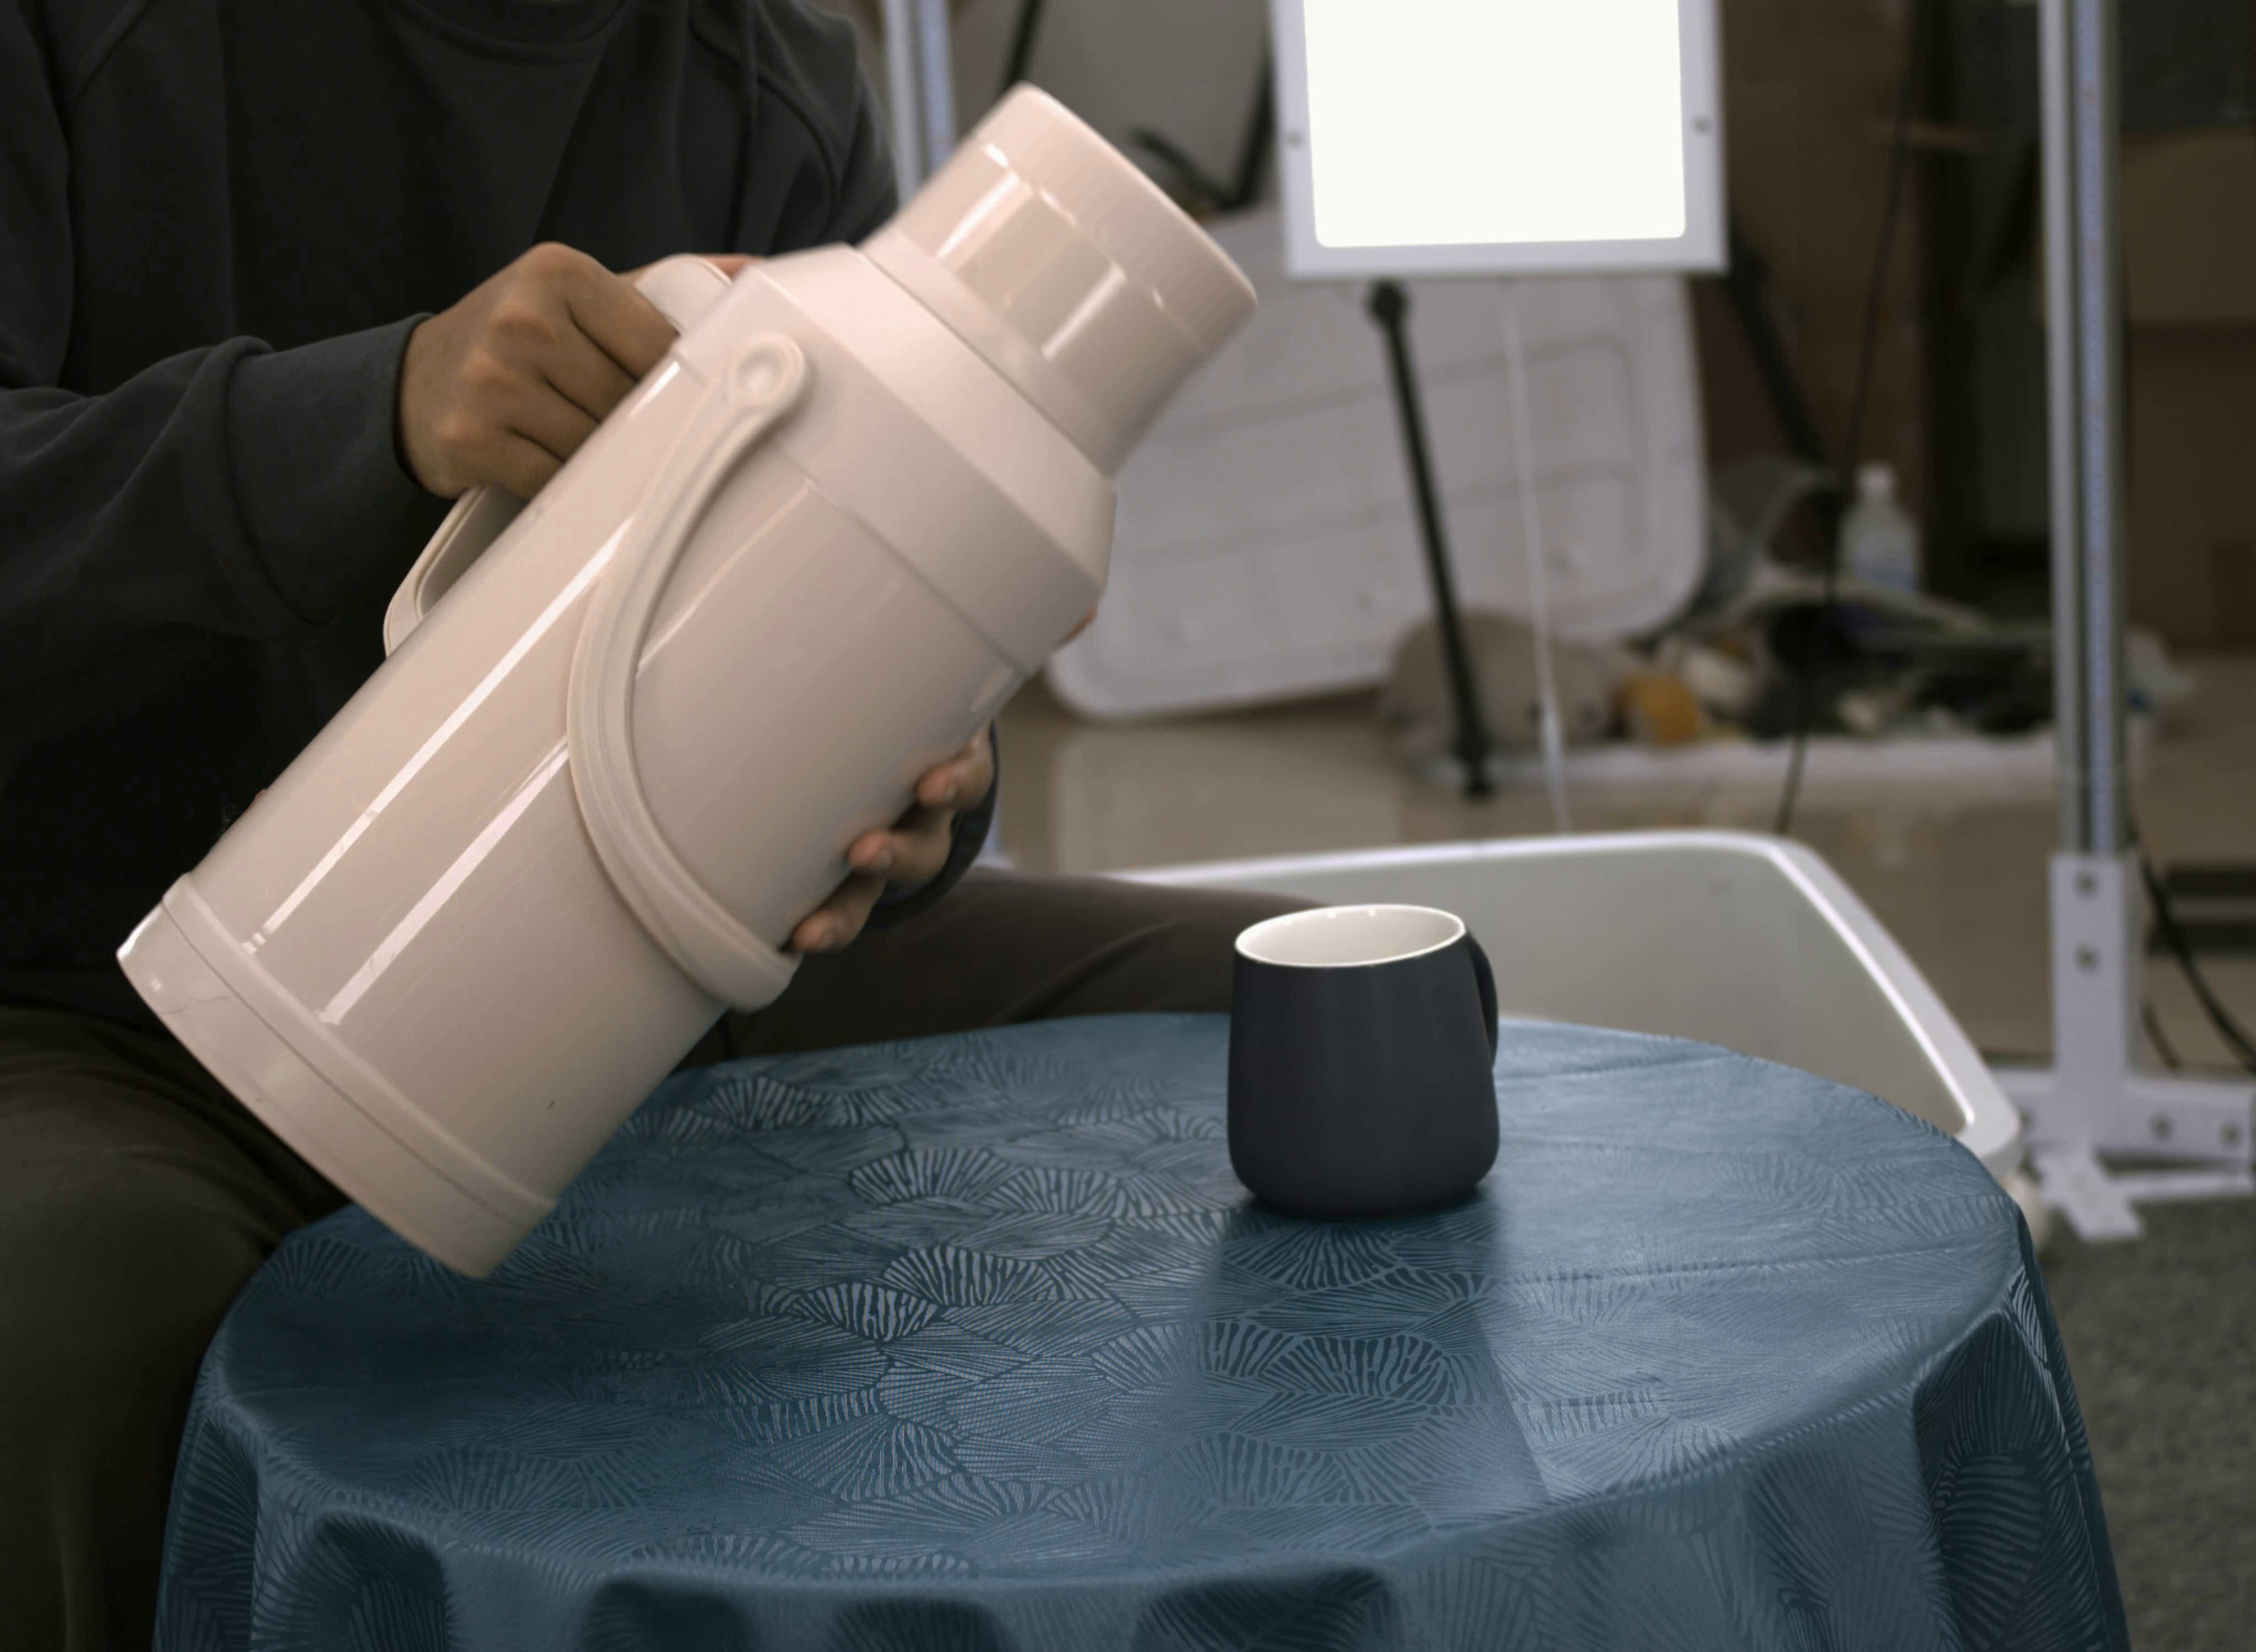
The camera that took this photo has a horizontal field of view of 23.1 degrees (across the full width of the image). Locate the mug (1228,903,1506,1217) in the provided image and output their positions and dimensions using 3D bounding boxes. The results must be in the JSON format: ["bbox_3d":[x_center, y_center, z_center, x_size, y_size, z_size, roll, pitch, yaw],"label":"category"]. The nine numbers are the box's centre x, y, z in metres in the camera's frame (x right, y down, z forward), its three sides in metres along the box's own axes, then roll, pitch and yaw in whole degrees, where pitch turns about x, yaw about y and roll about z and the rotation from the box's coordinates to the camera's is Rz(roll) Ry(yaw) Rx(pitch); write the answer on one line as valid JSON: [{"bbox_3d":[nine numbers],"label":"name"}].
[{"bbox_3d":[0.089,0.076,1.882,0.095,0.090,0.120,7,18,41],"label":"mug"}]

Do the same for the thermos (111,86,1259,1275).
[{"bbox_3d":[-0.141,-0.062,1.769,0.209,0.407,0.173,44,2,30],"label":"thermos"}]
